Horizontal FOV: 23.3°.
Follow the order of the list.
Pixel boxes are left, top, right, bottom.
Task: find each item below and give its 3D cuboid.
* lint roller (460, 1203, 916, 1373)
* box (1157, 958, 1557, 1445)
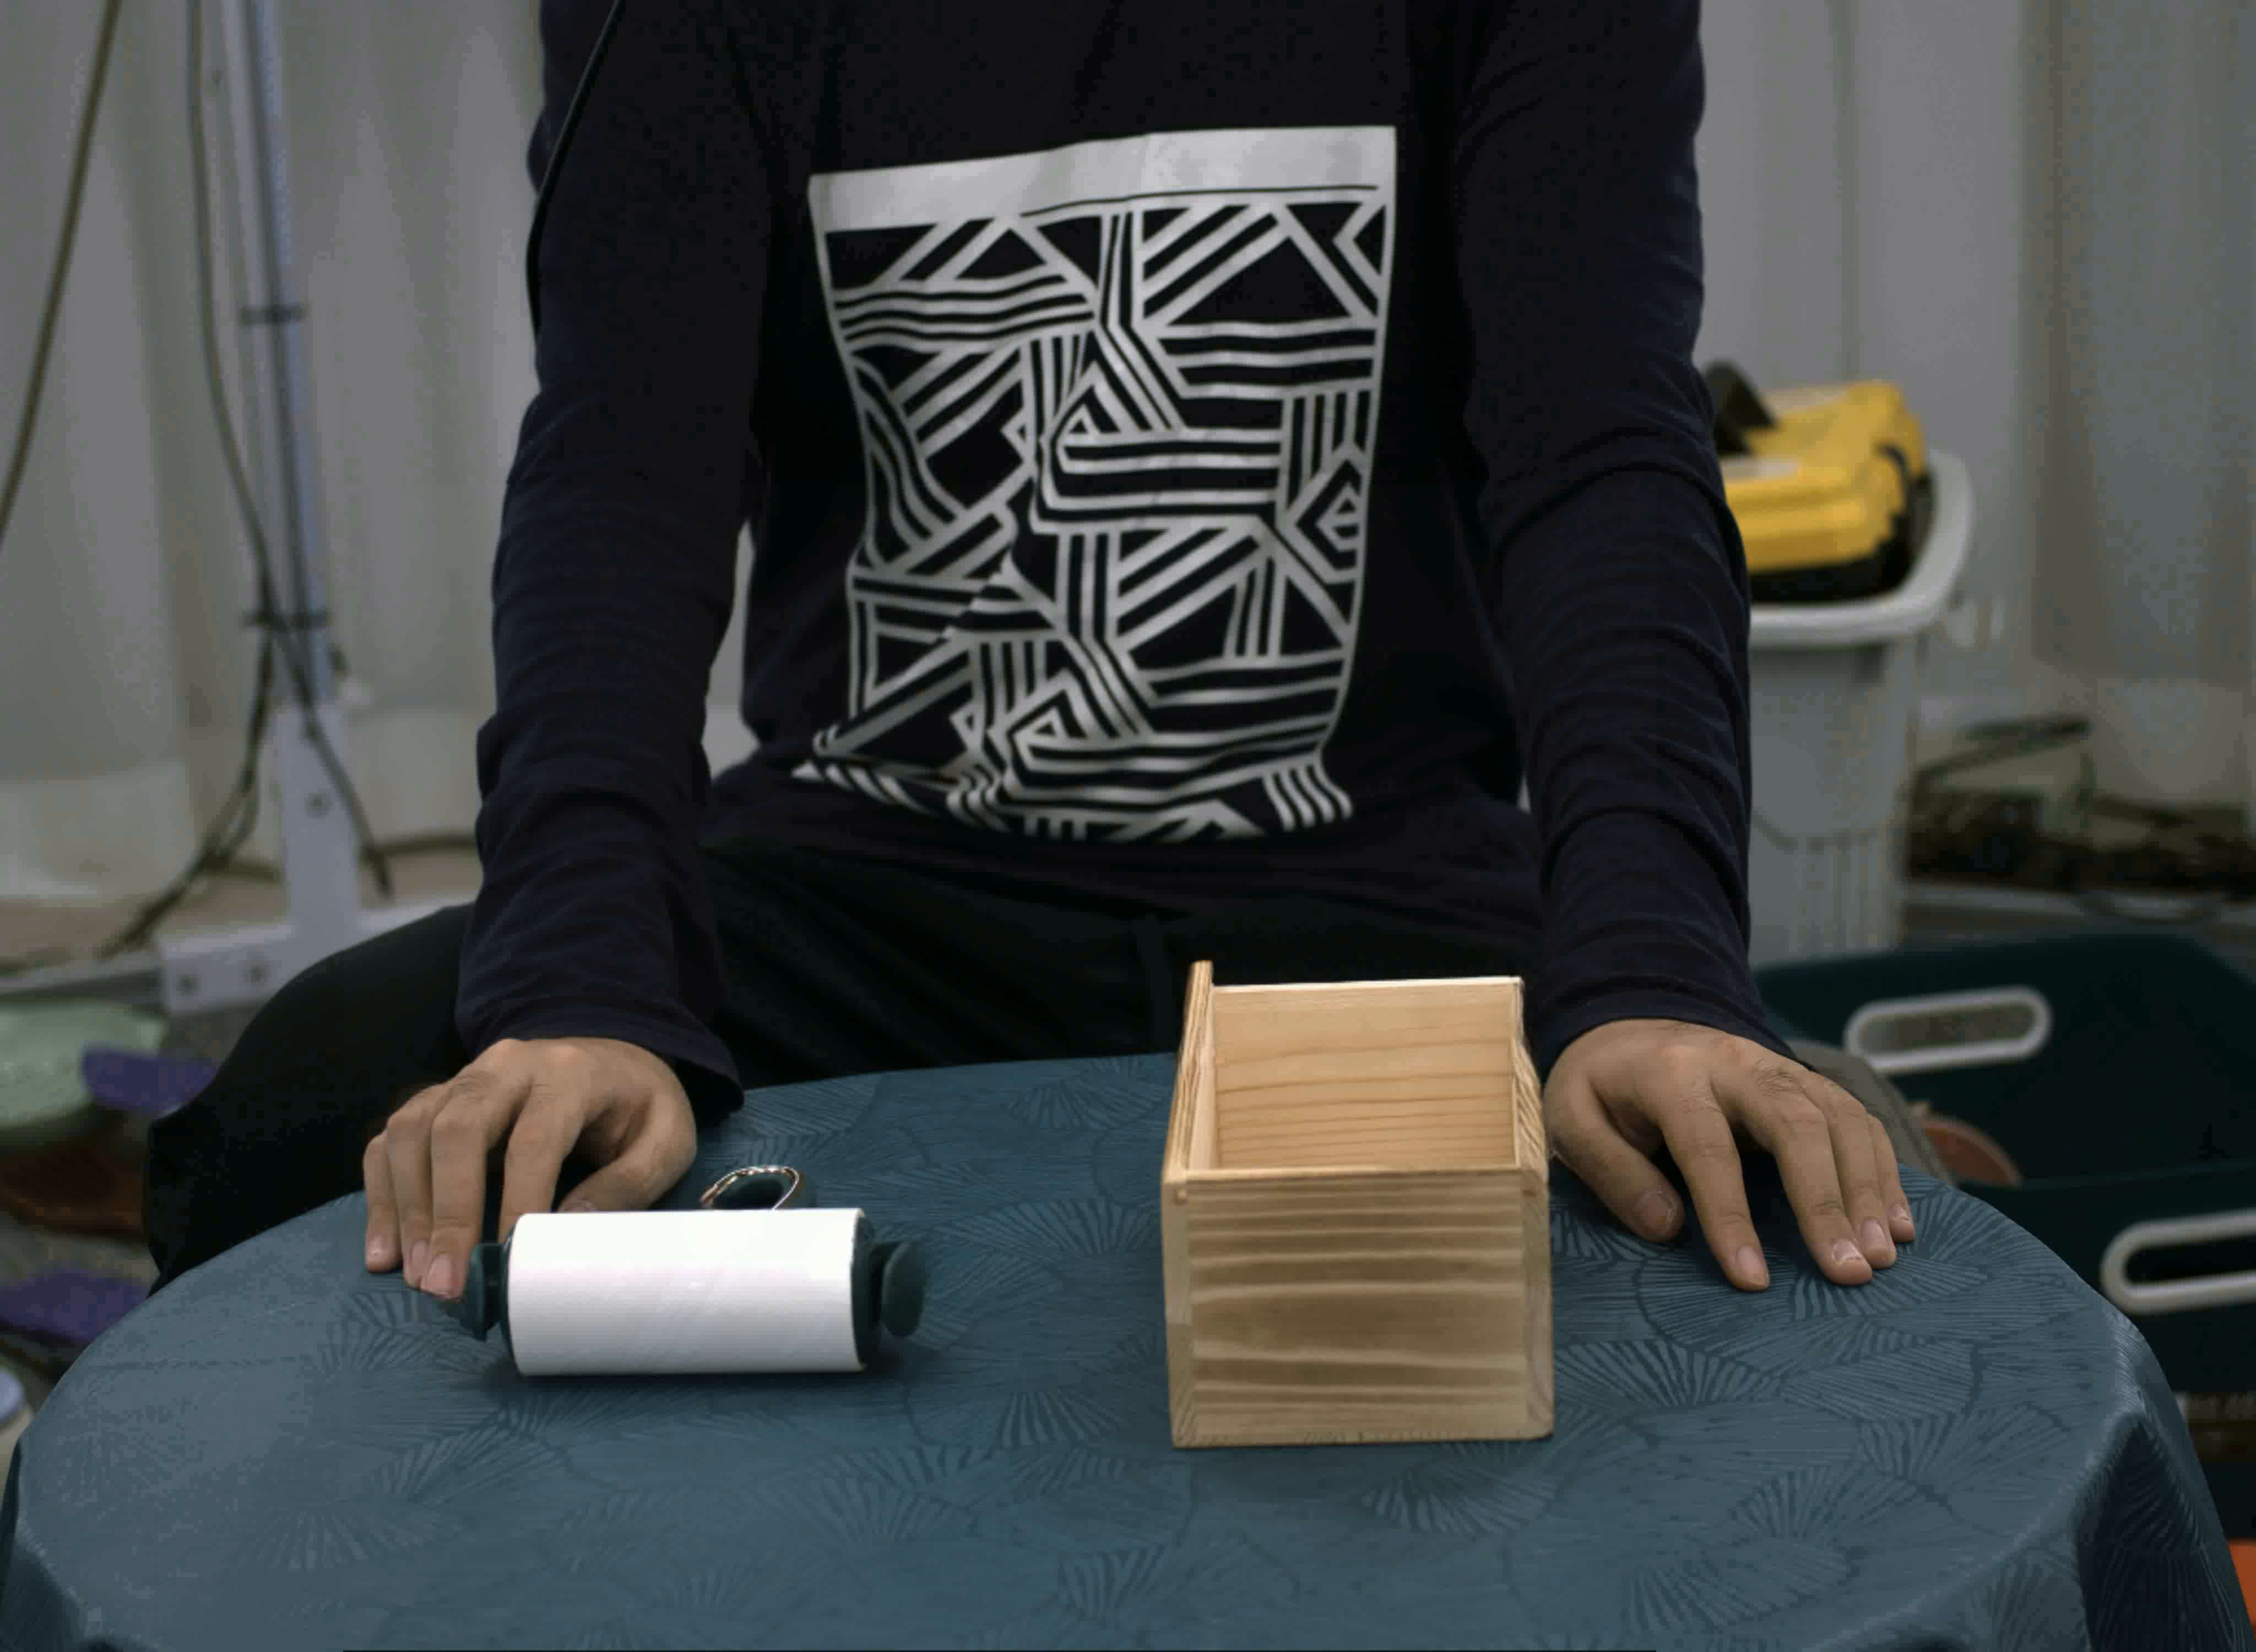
[{"bbox_3d":[-0.121,0.120,1.641,0.134,0.048,0.181,-1,12,5],"label":"lint roller"},{"bbox_3d":[0.067,0.105,1.586,0.107,0.080,0.212,-3,13,3],"label":"box"}]
